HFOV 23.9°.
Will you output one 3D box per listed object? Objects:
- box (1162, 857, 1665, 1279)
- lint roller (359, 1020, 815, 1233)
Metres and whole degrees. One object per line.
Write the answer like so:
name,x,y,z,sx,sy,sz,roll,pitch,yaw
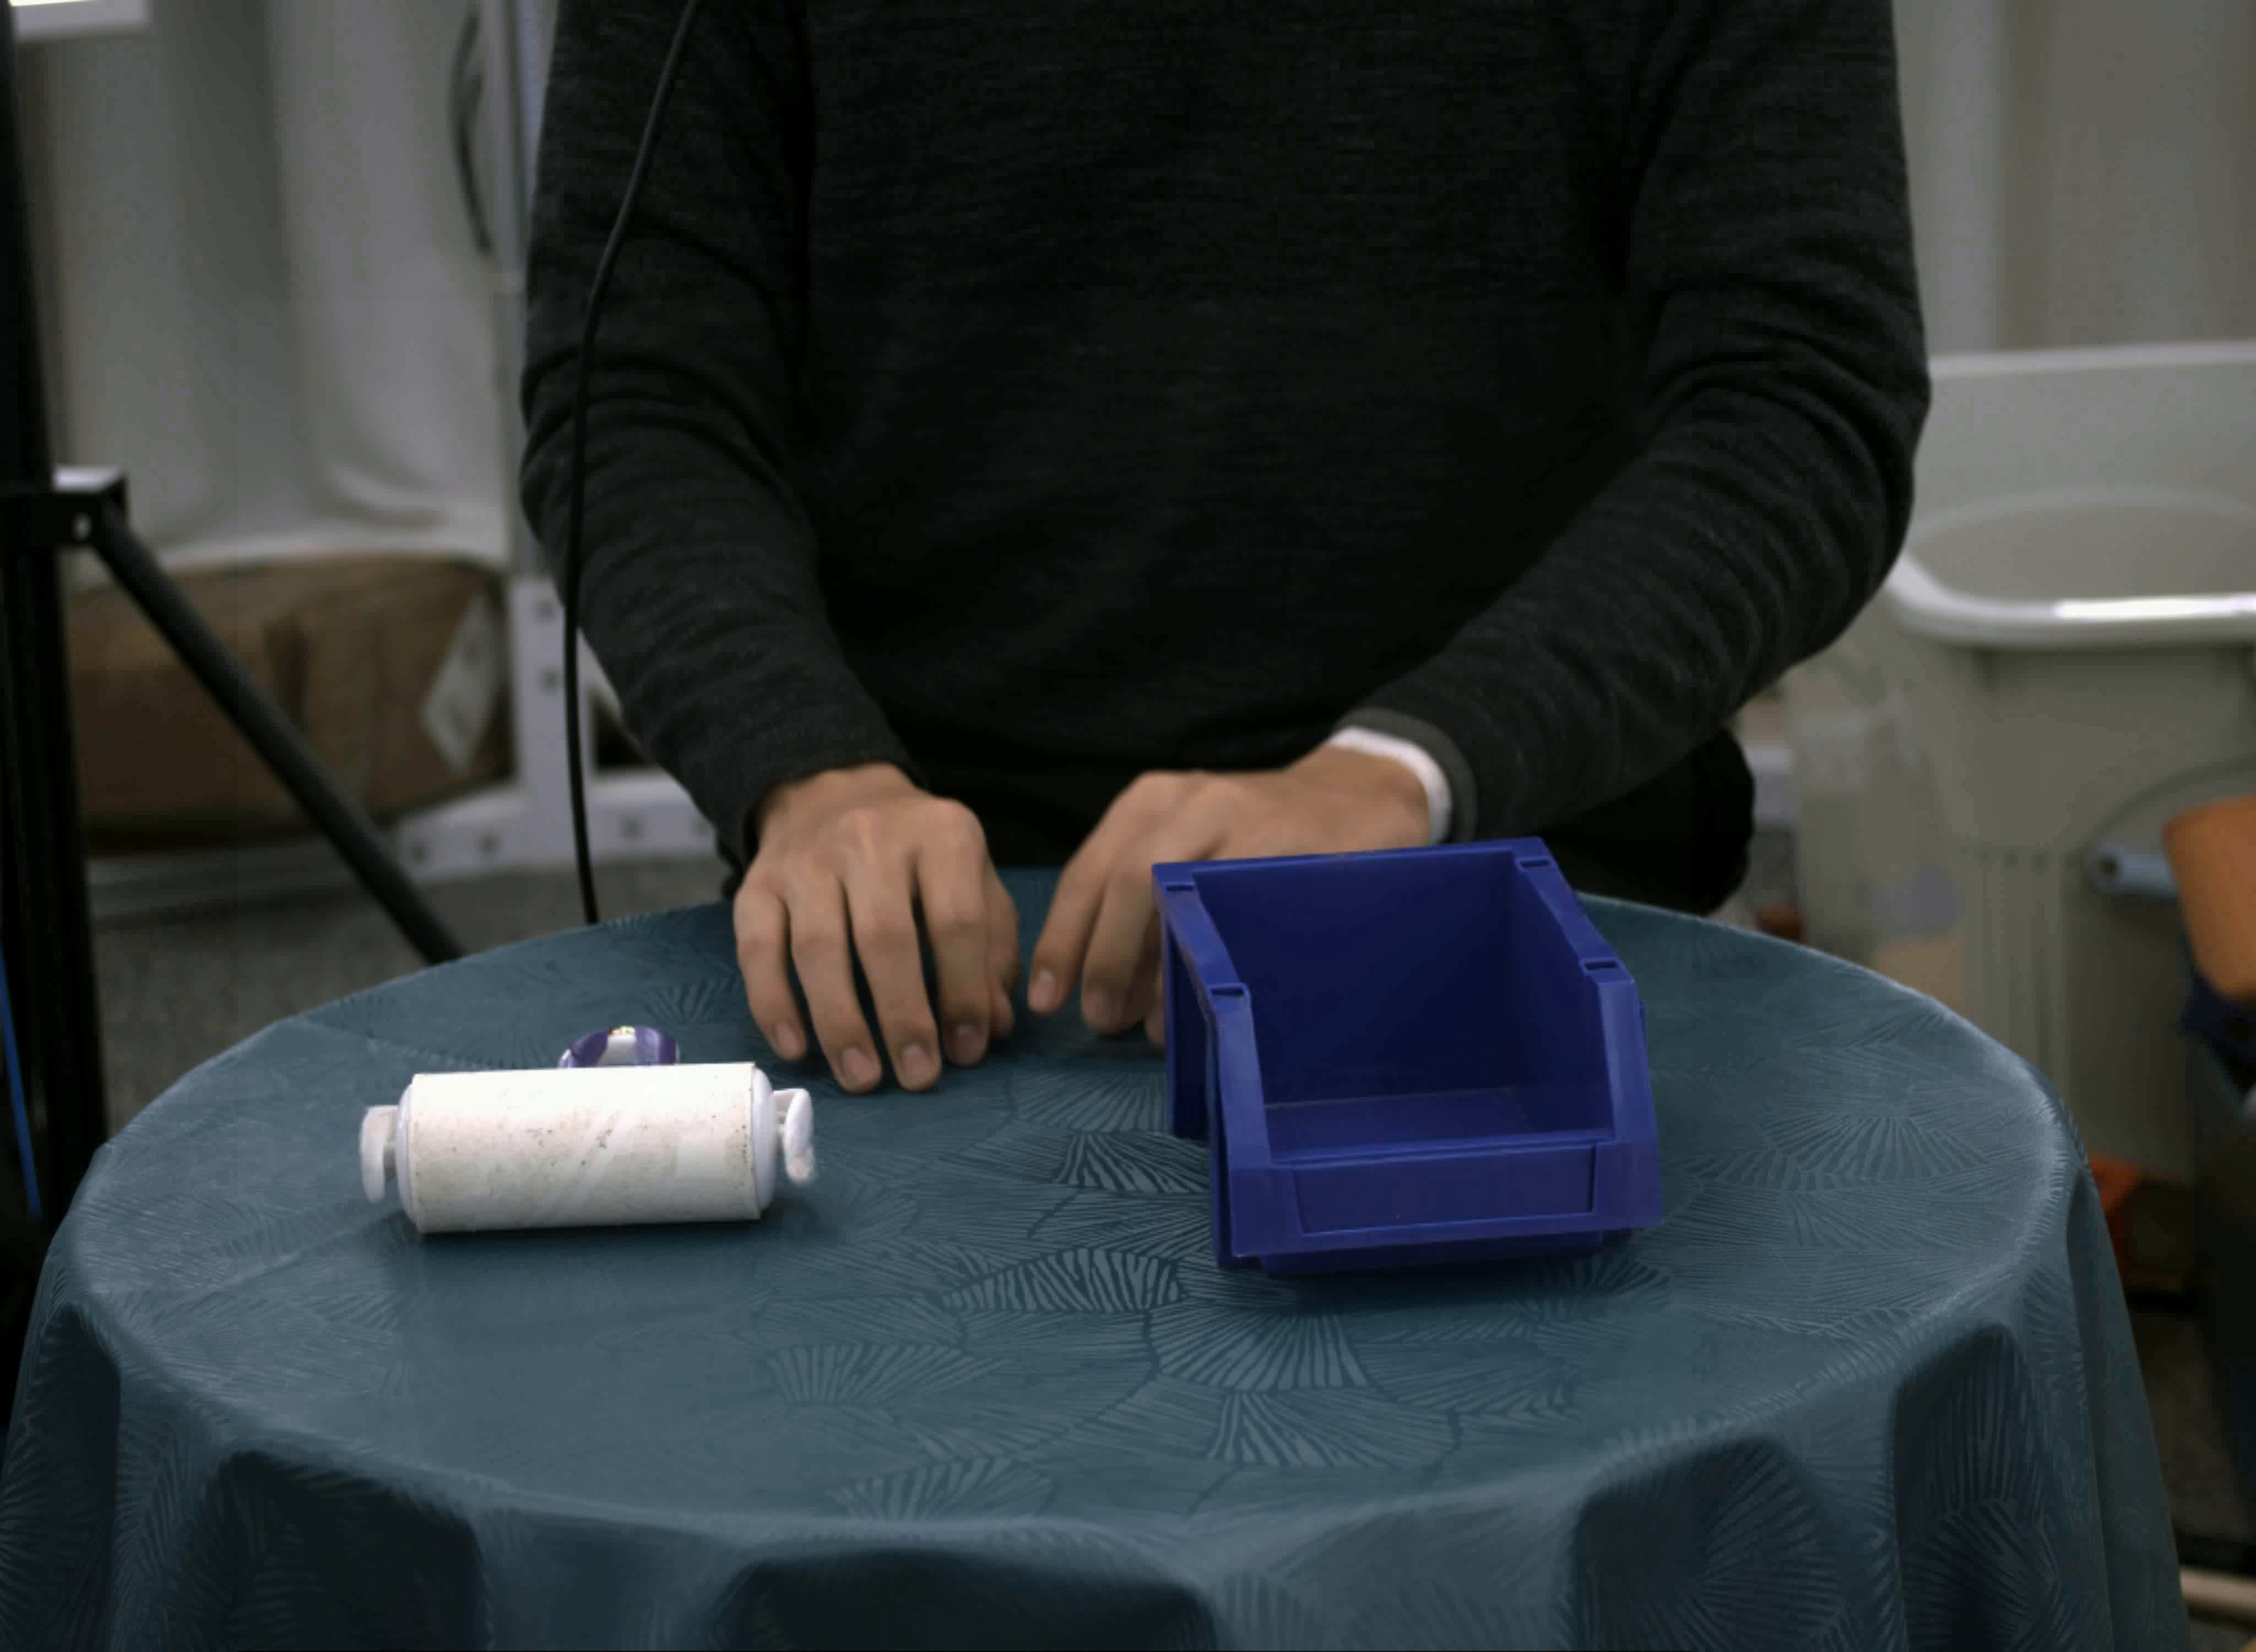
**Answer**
box,0.081,0.072,1.524,0.123,0.082,0.180,-3,13,-4
lint roller,-0.157,0.075,1.614,0.132,0.050,0.181,-3,18,3
